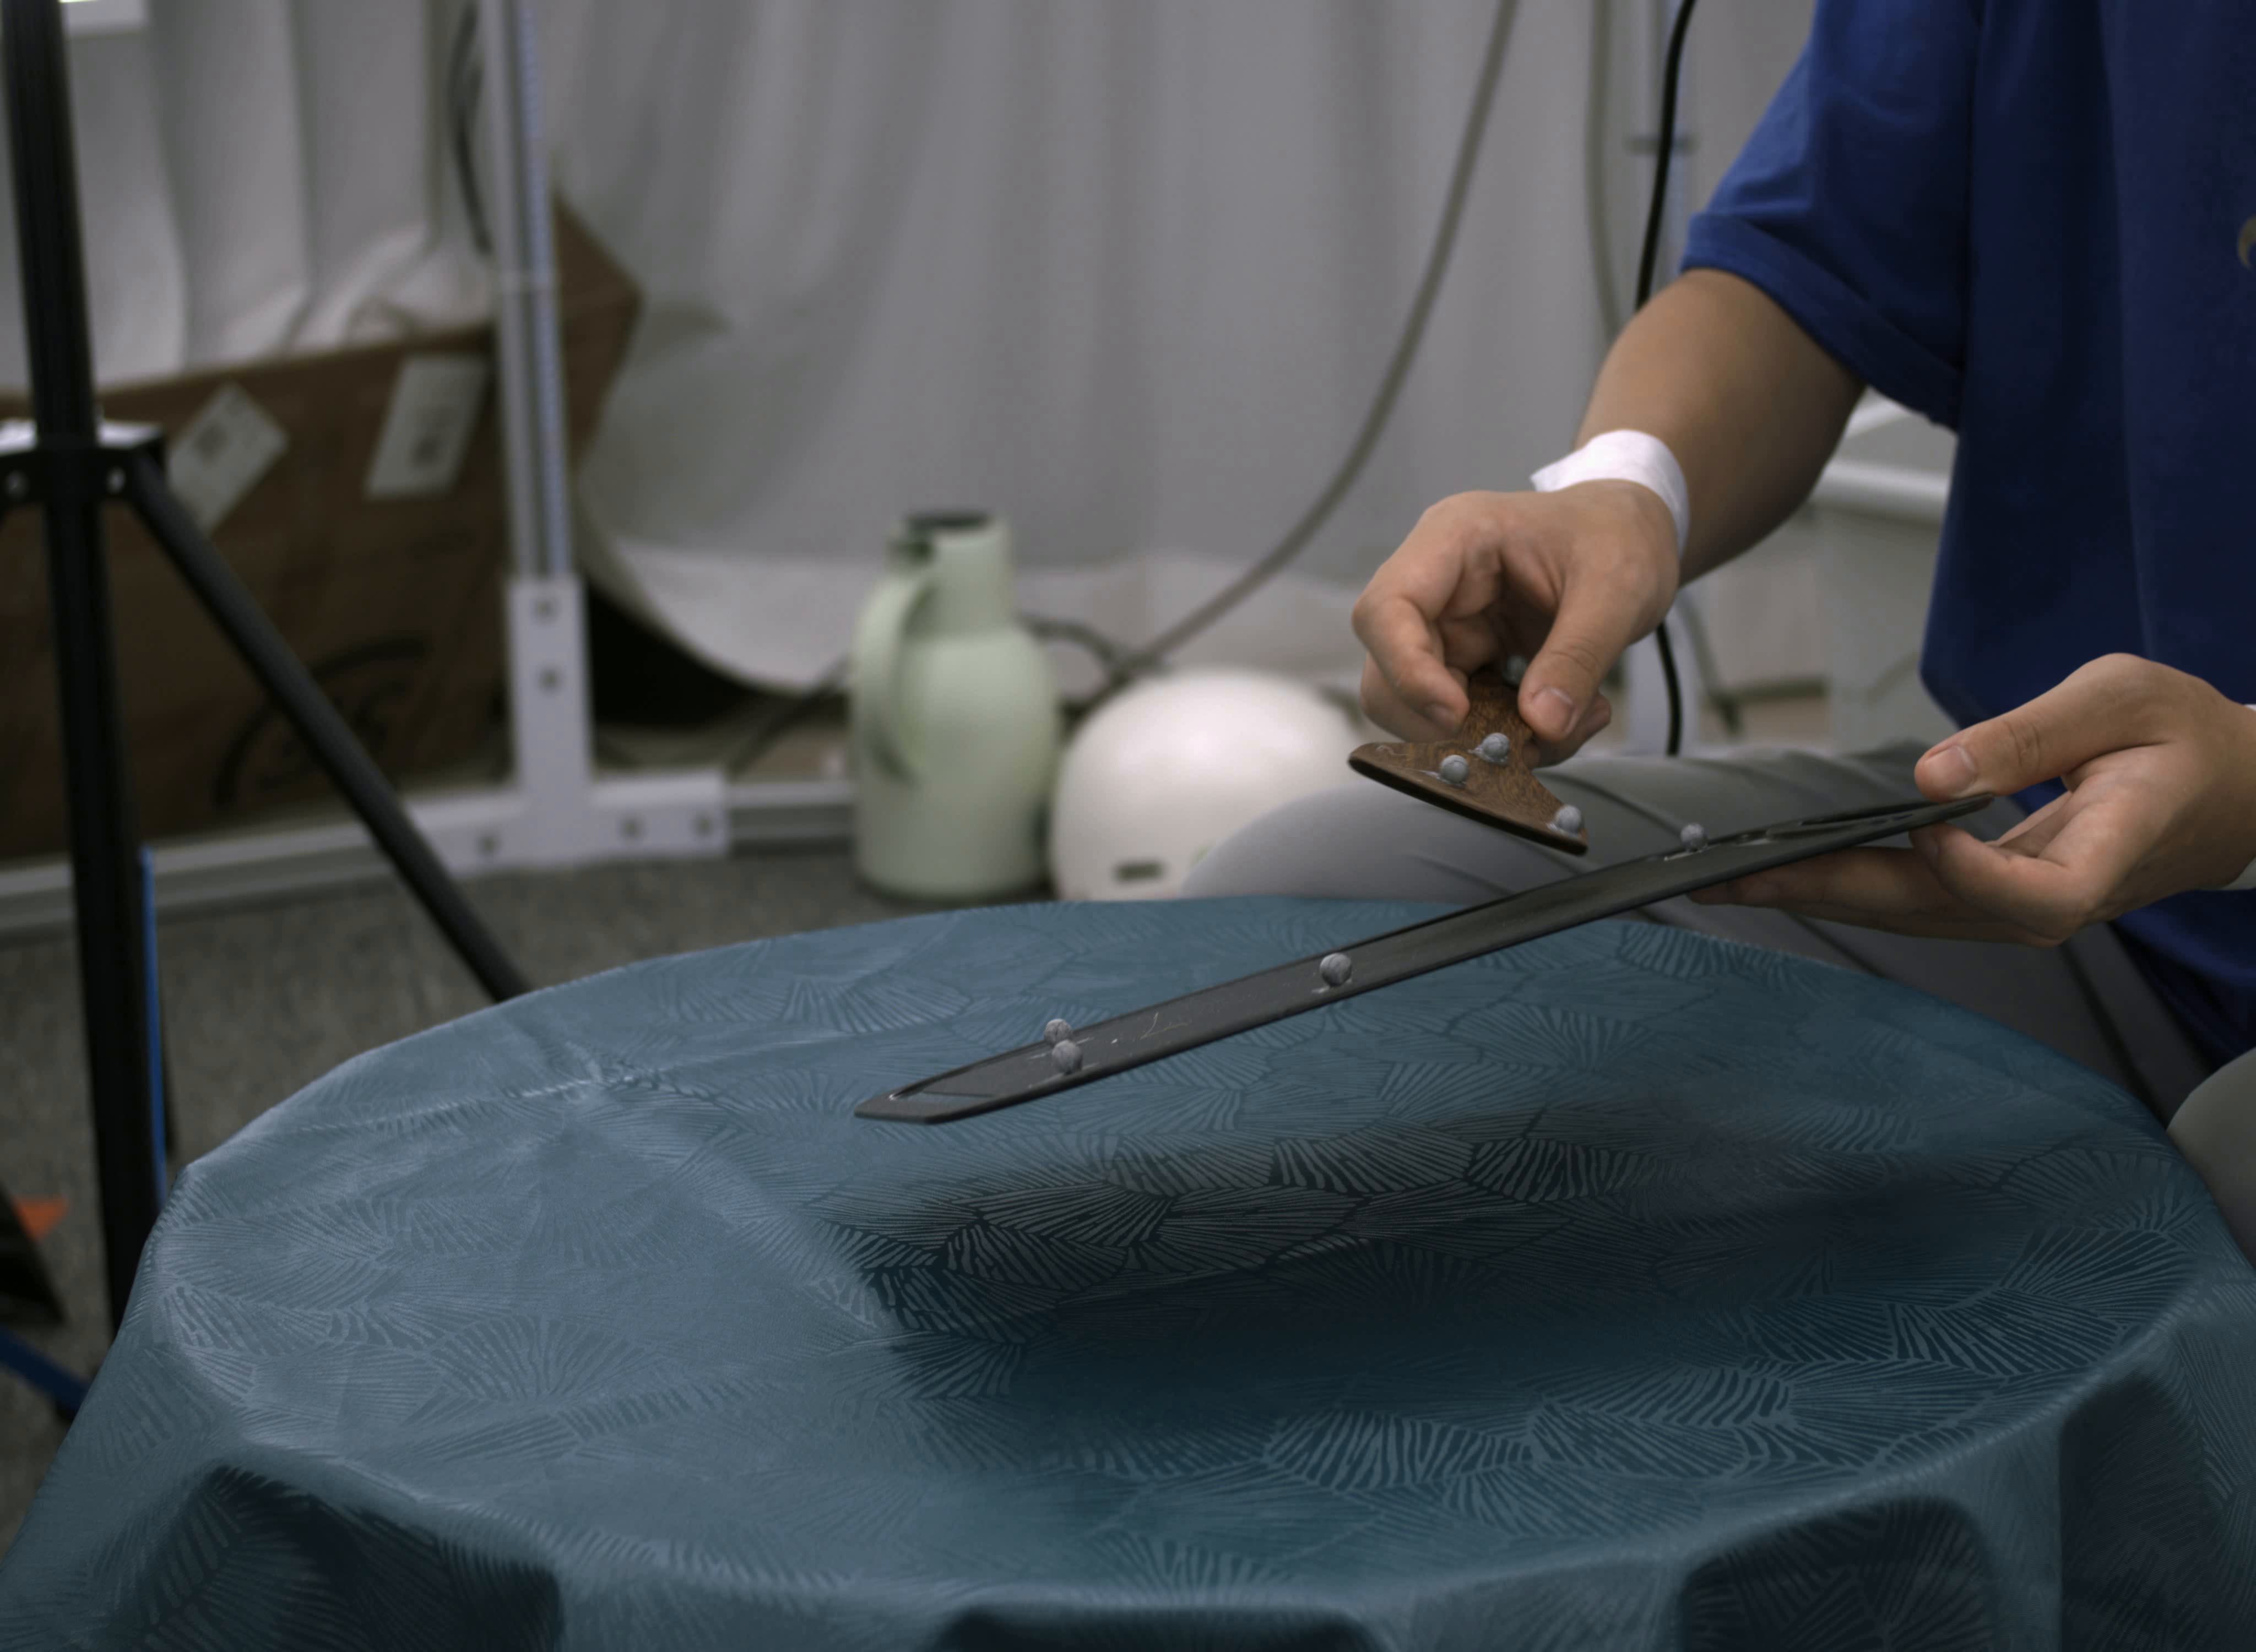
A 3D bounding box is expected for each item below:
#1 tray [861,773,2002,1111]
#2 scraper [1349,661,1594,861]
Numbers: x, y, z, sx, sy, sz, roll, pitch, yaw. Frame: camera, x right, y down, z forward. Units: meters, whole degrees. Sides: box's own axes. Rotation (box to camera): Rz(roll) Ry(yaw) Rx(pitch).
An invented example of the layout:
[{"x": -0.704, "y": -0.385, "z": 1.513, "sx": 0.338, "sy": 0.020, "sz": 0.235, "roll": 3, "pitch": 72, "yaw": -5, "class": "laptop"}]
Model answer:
[{"x": 0.087, "y": 0.031, "z": 1.493, "sx": 0.322, "sy": 0.010, "sz": 0.212, "roll": -16, "pitch": 1, "yaw": -10, "class": "tray"}, {"x": 0.109, "y": -0.024, "z": 1.592, "sx": 0.076, "sy": 0.011, "sz": 0.210, "roll": 23, "pitch": 14, "yaw": 3, "class": "scraper"}]
